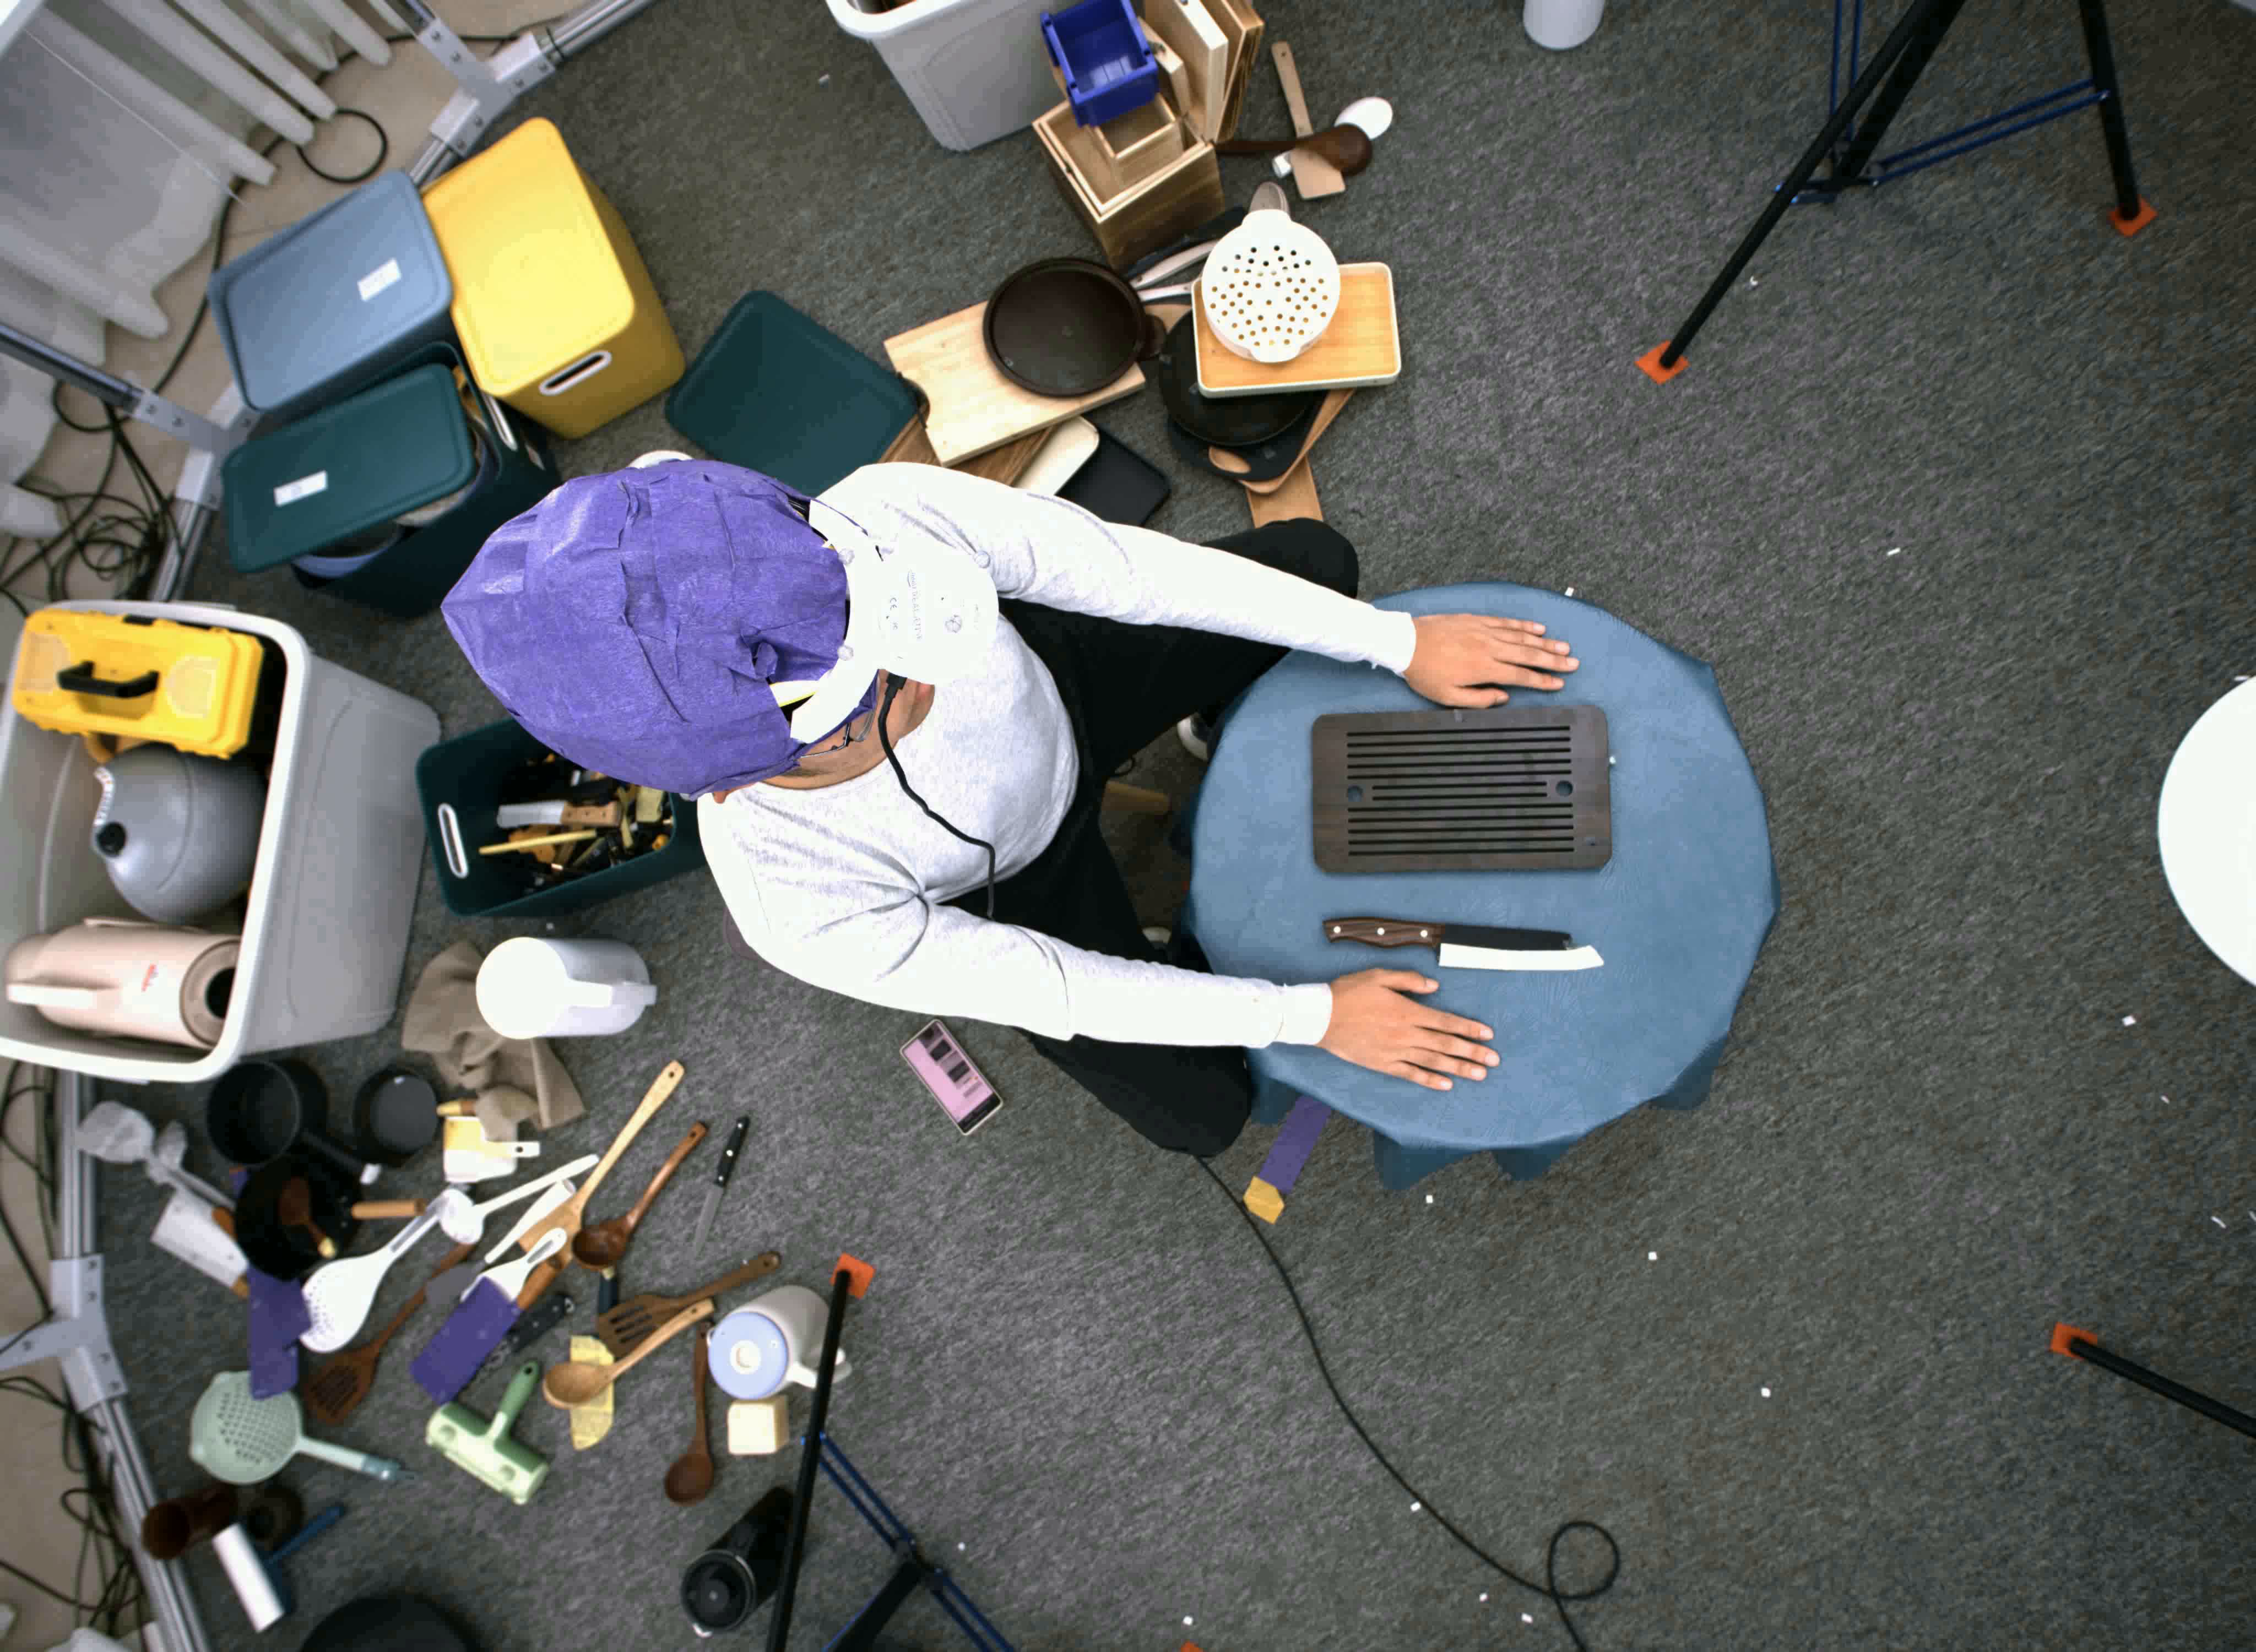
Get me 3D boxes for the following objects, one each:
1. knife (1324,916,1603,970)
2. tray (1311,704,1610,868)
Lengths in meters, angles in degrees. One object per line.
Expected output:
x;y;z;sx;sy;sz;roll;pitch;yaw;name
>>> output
0.348;0.120;1.435;0.290;0.020;0.050;5;92;9;knife
0.346;-0.042;1.443;0.307;0.018;0.169;-1;87;11;tray
